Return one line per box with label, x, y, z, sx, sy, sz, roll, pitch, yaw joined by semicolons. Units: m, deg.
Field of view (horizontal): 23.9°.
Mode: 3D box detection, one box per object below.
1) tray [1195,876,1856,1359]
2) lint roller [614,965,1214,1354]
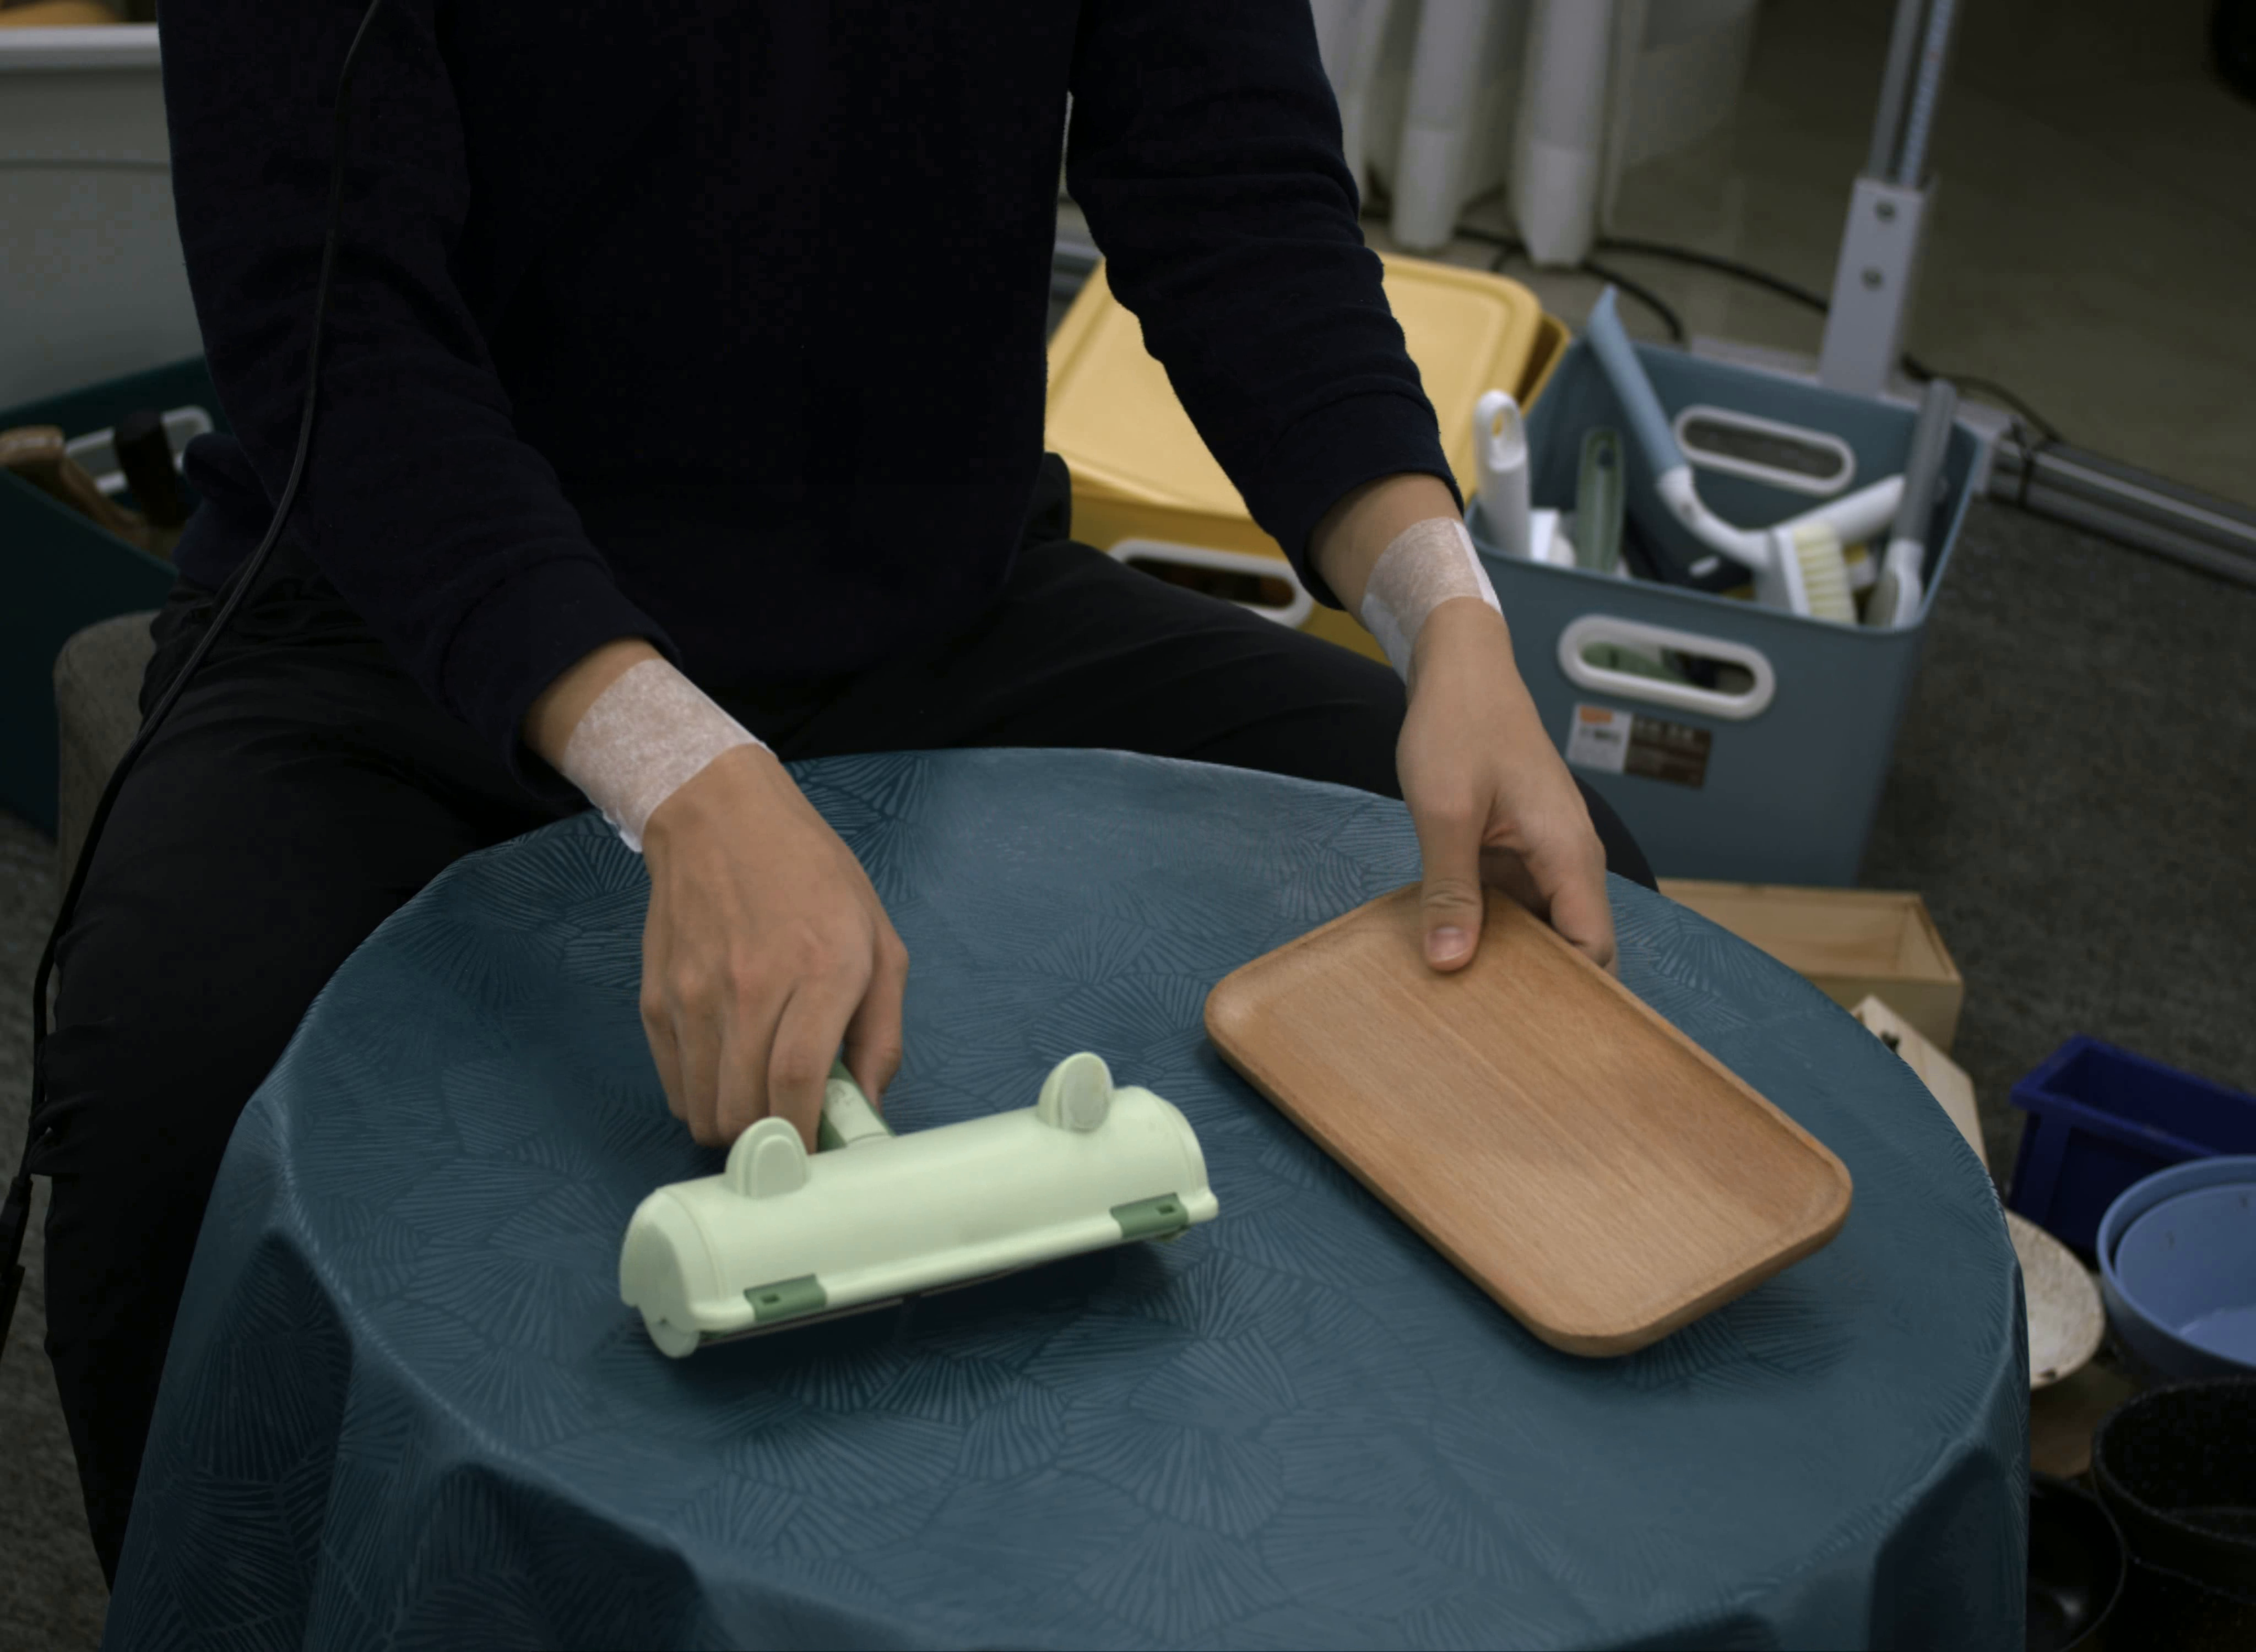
tray;0.133;0.098;1.832;0.130;0.023;0.253;-23;37;-23
lint roller;-0.094;0.085;1.744;0.197;0.082;0.185;-10;45;-31
